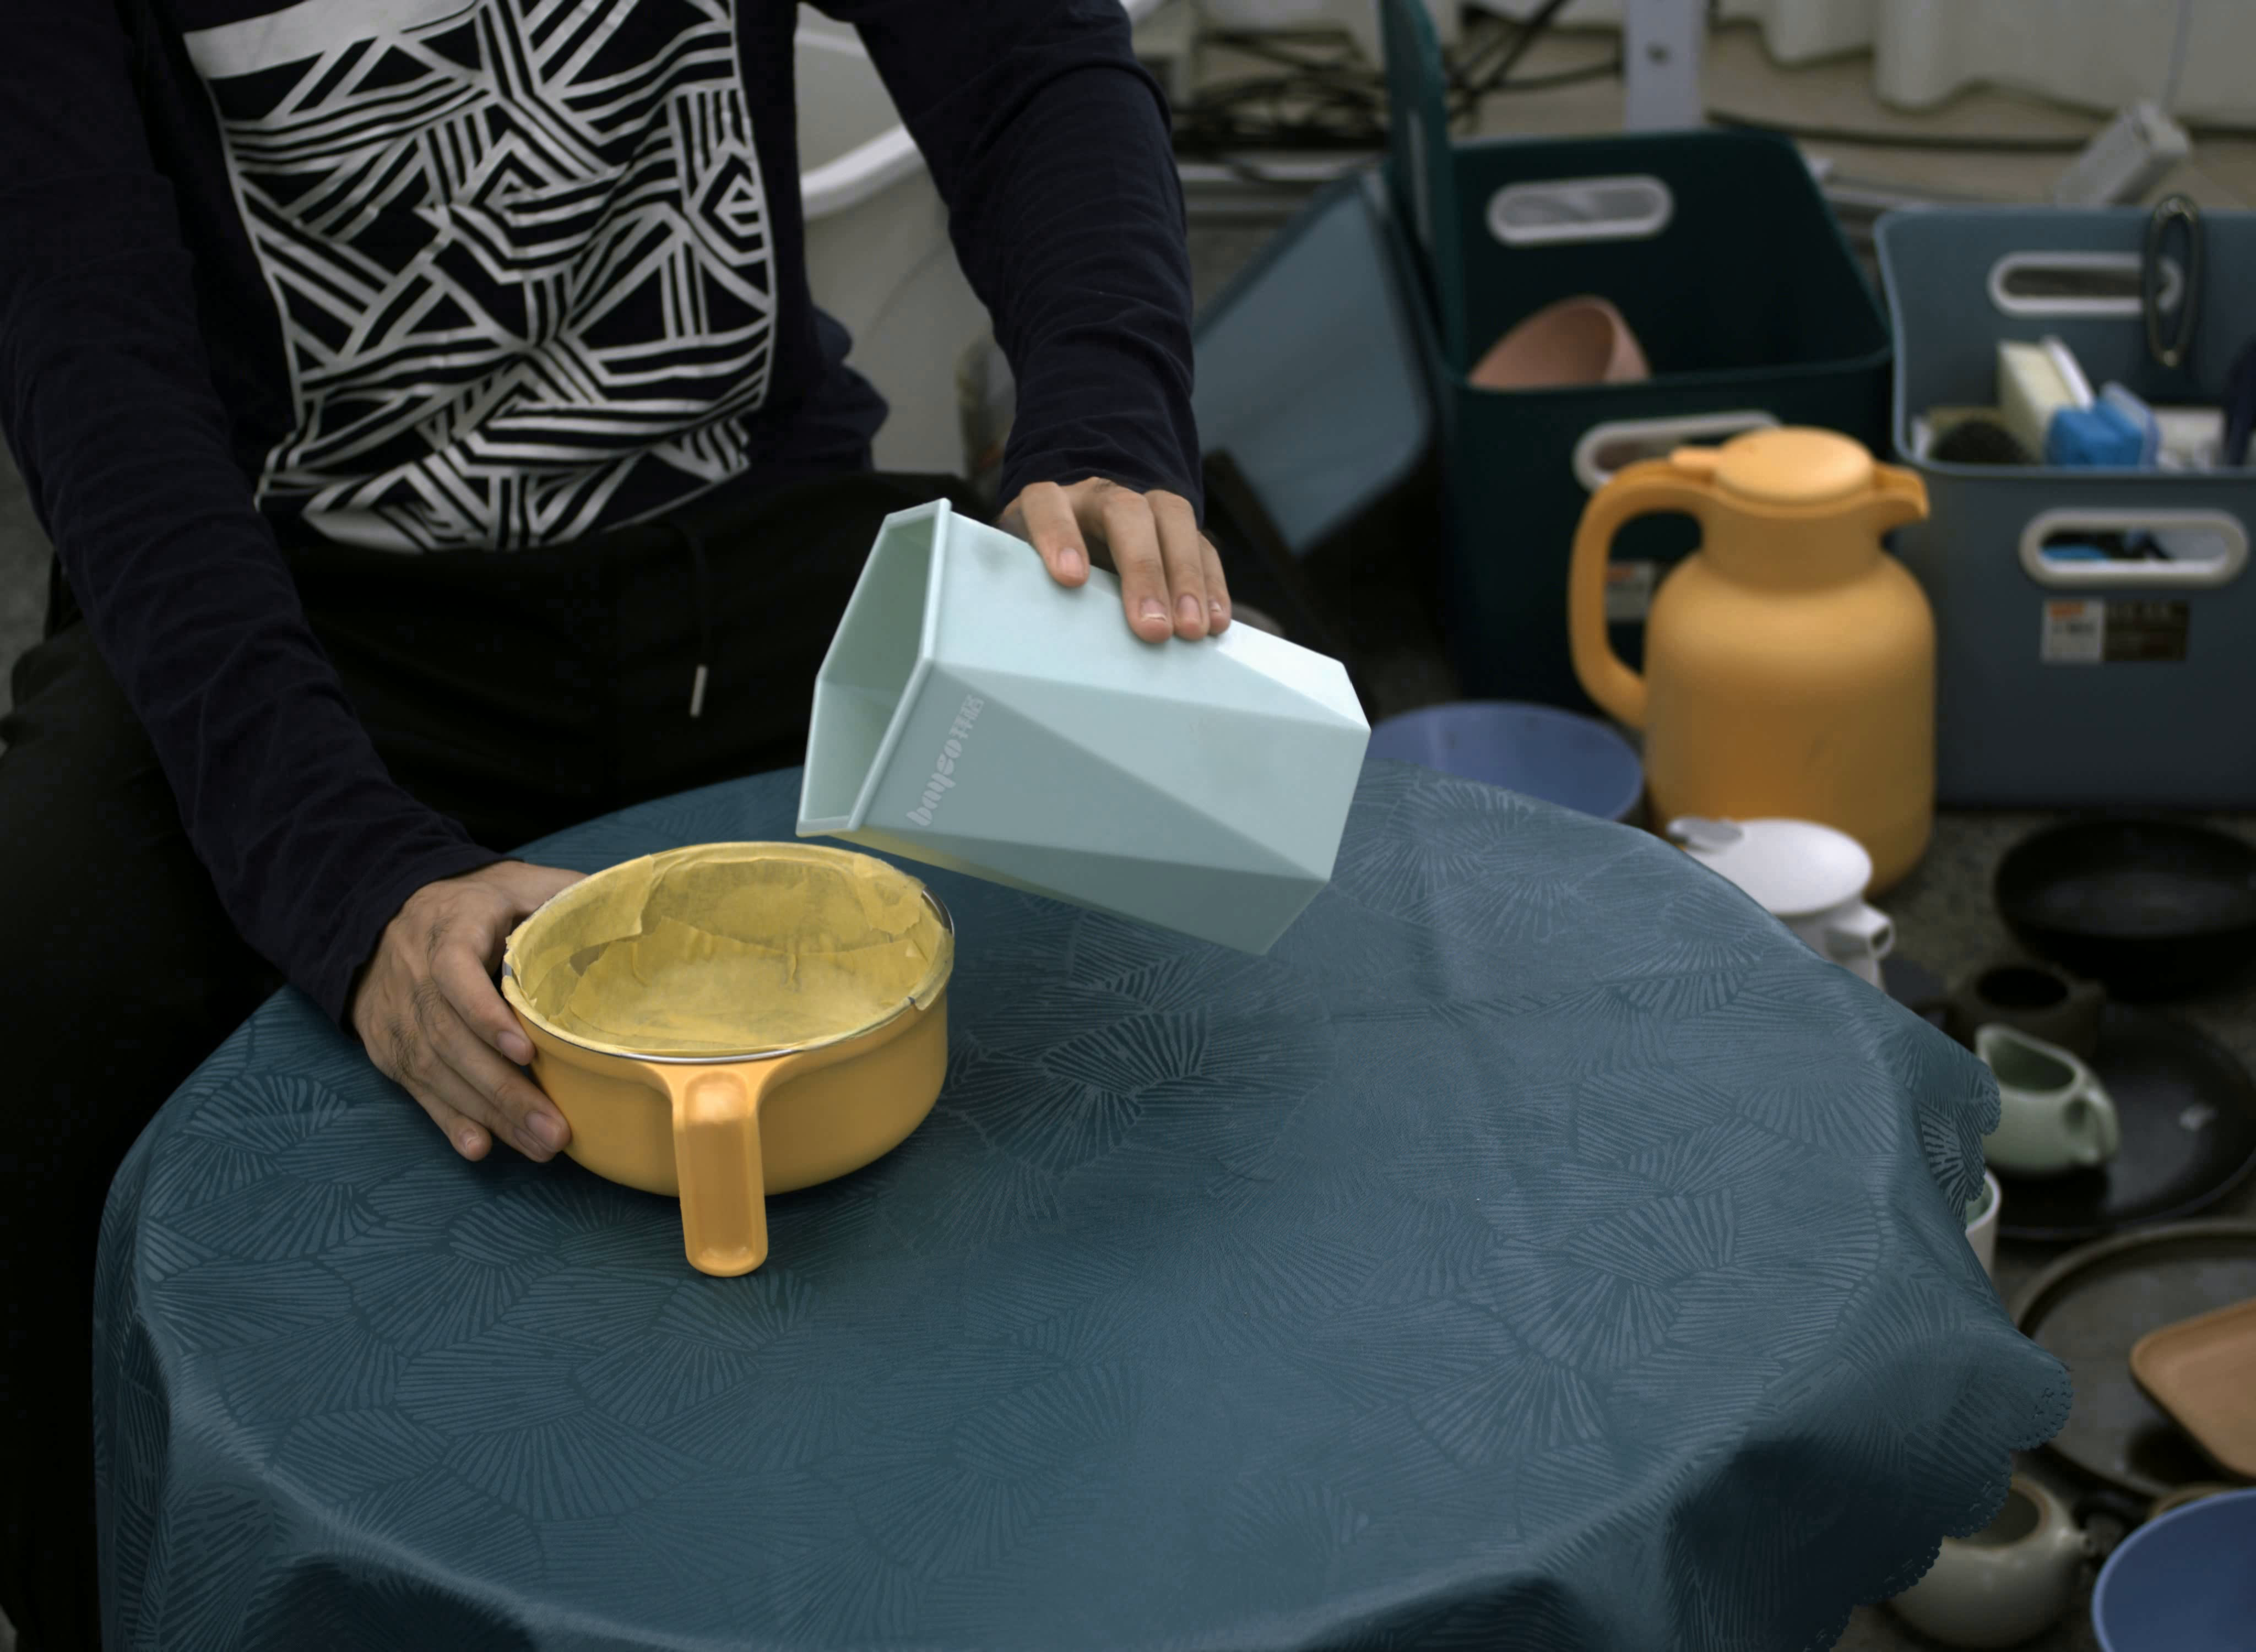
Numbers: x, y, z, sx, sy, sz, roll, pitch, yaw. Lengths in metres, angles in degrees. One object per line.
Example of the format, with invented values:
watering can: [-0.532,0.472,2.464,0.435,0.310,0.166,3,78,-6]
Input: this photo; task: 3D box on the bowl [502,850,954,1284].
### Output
bowl: [-0.132,0.078,1.885,0.152,0.073,0.181,-4,25,-3]

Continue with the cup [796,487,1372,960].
cup: [-0.012,-0.030,1.880,0.162,0.130,0.116,20,19,-16]
